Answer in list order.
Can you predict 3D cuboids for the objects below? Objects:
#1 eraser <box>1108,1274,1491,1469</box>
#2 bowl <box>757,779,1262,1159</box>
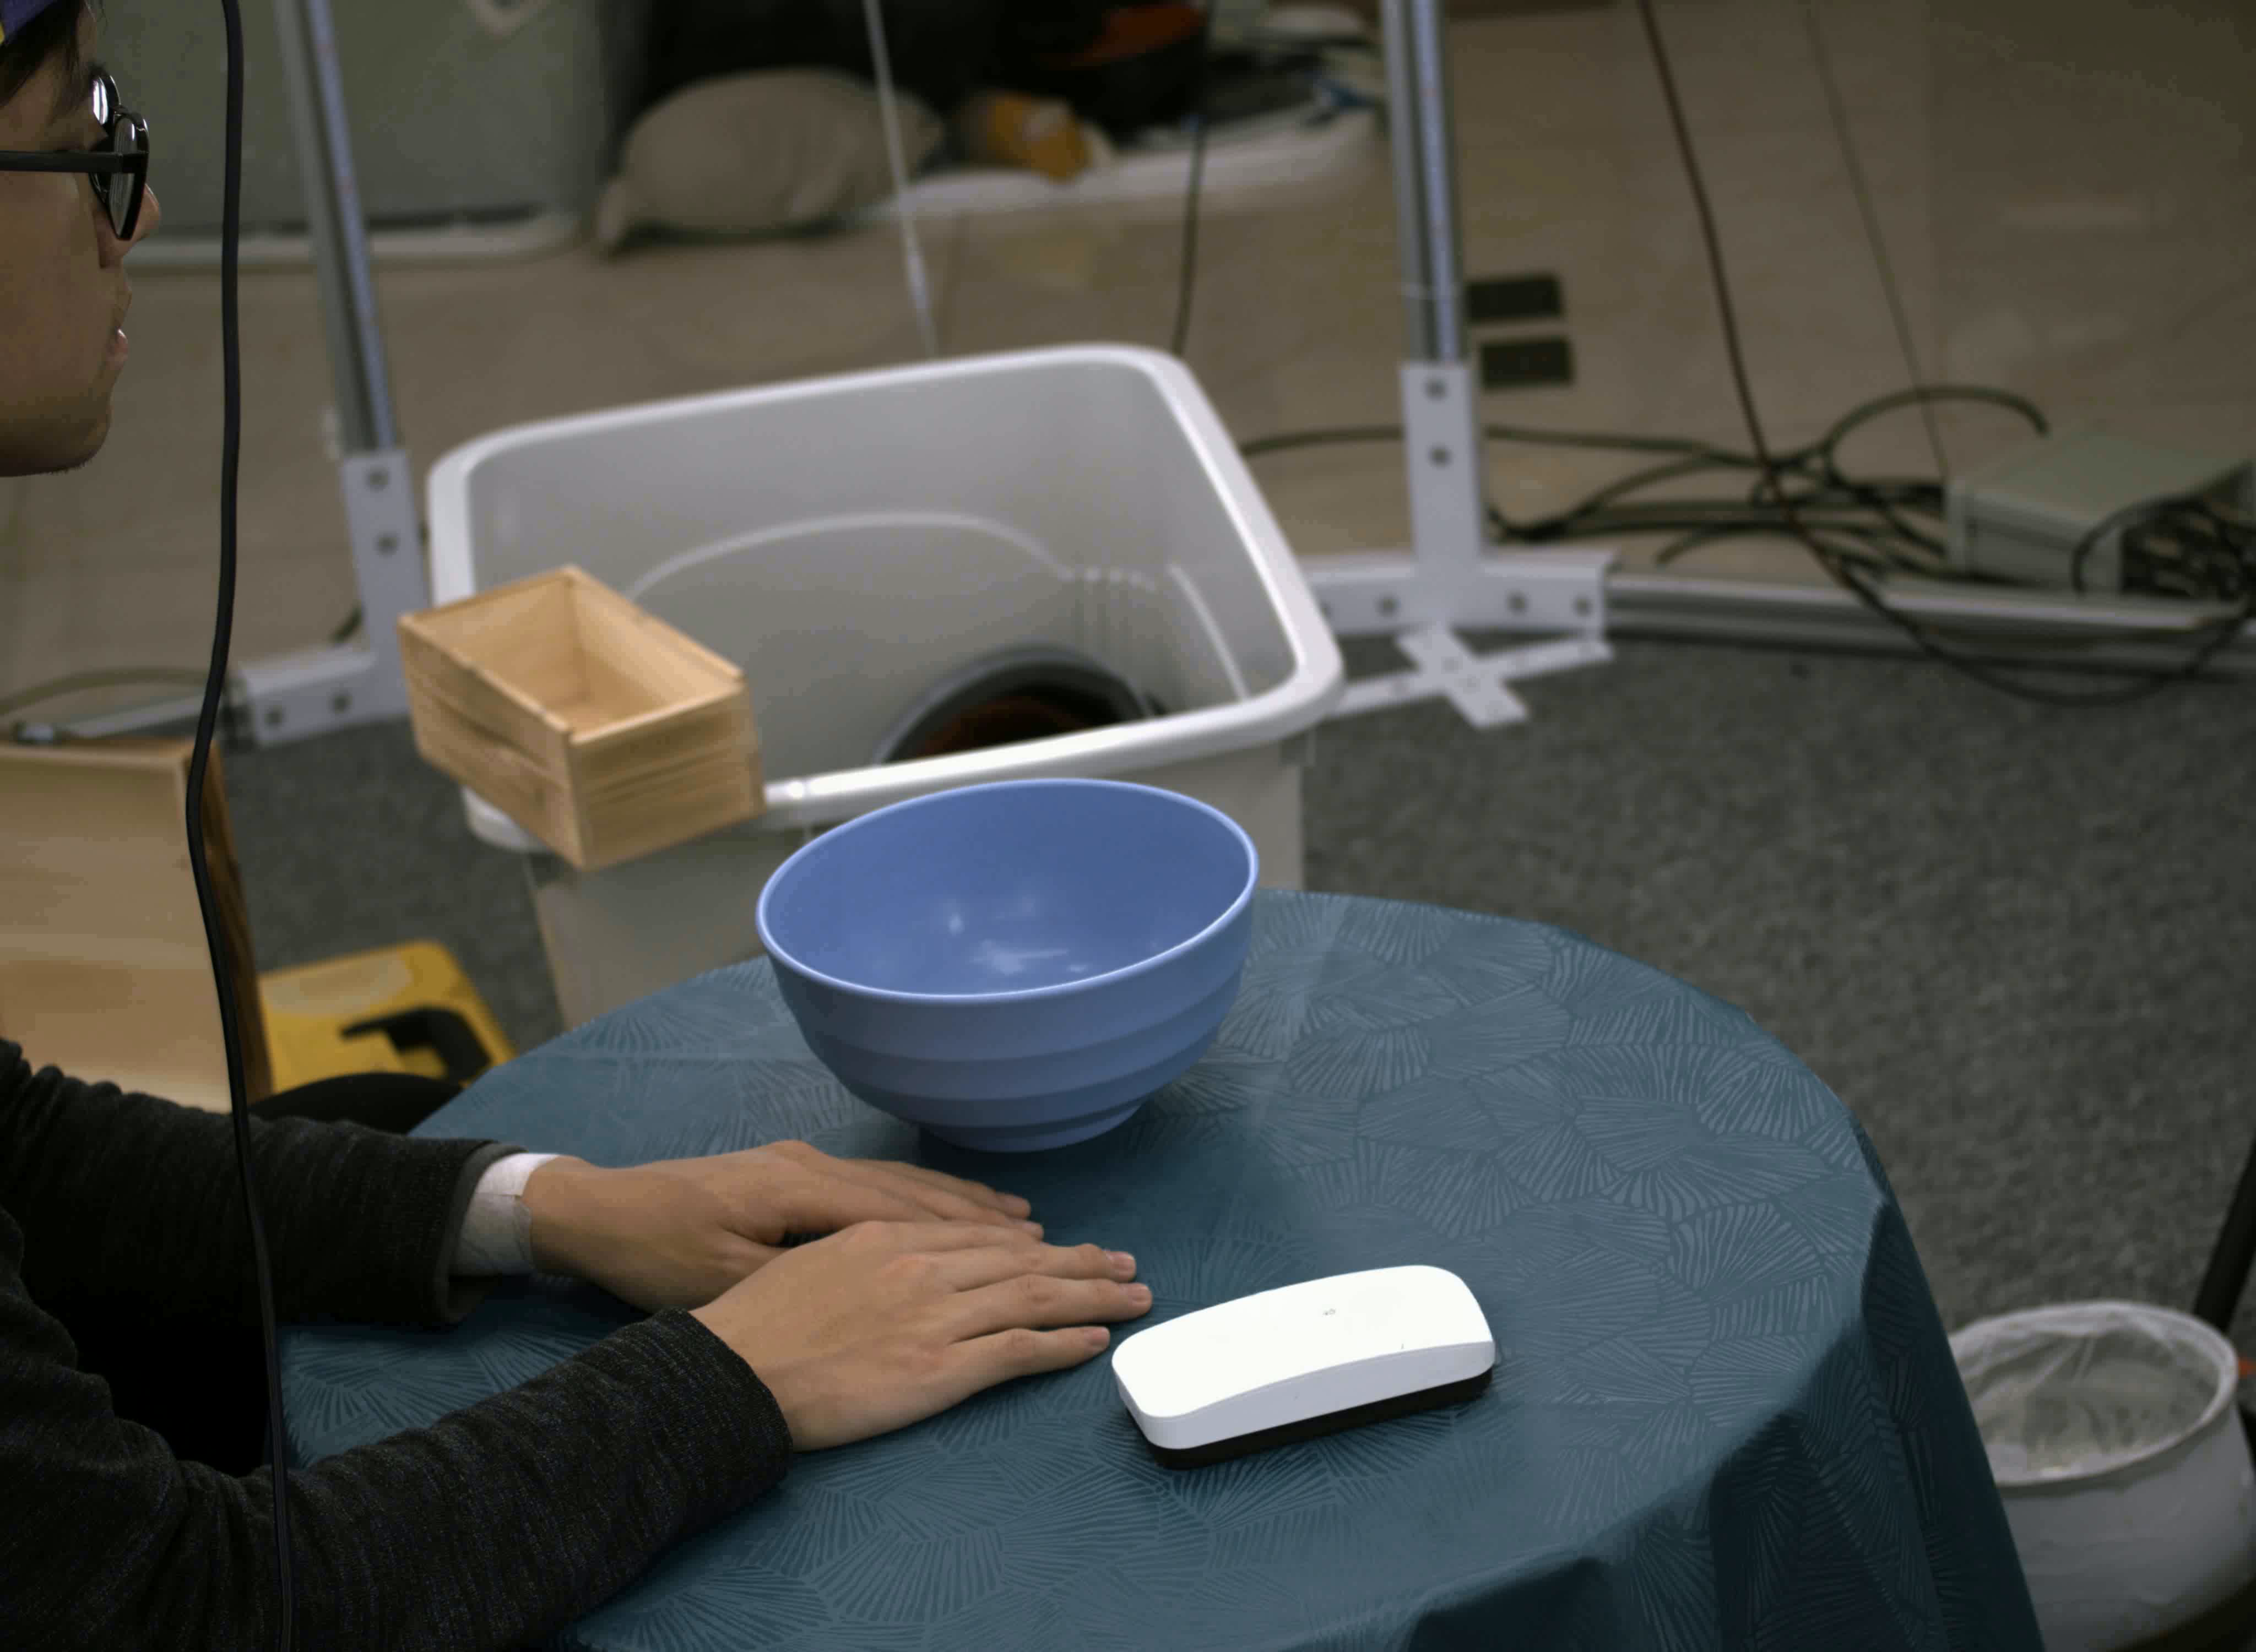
[{"bbox_3d":[0.060,0.188,1.991,0.131,0.035,0.062,-12,24,-13],"label":"eraser"},{"bbox_3d":[-0.042,0.066,2.205,0.196,0.097,0.193,-5,26,3],"label":"bowl"}]
